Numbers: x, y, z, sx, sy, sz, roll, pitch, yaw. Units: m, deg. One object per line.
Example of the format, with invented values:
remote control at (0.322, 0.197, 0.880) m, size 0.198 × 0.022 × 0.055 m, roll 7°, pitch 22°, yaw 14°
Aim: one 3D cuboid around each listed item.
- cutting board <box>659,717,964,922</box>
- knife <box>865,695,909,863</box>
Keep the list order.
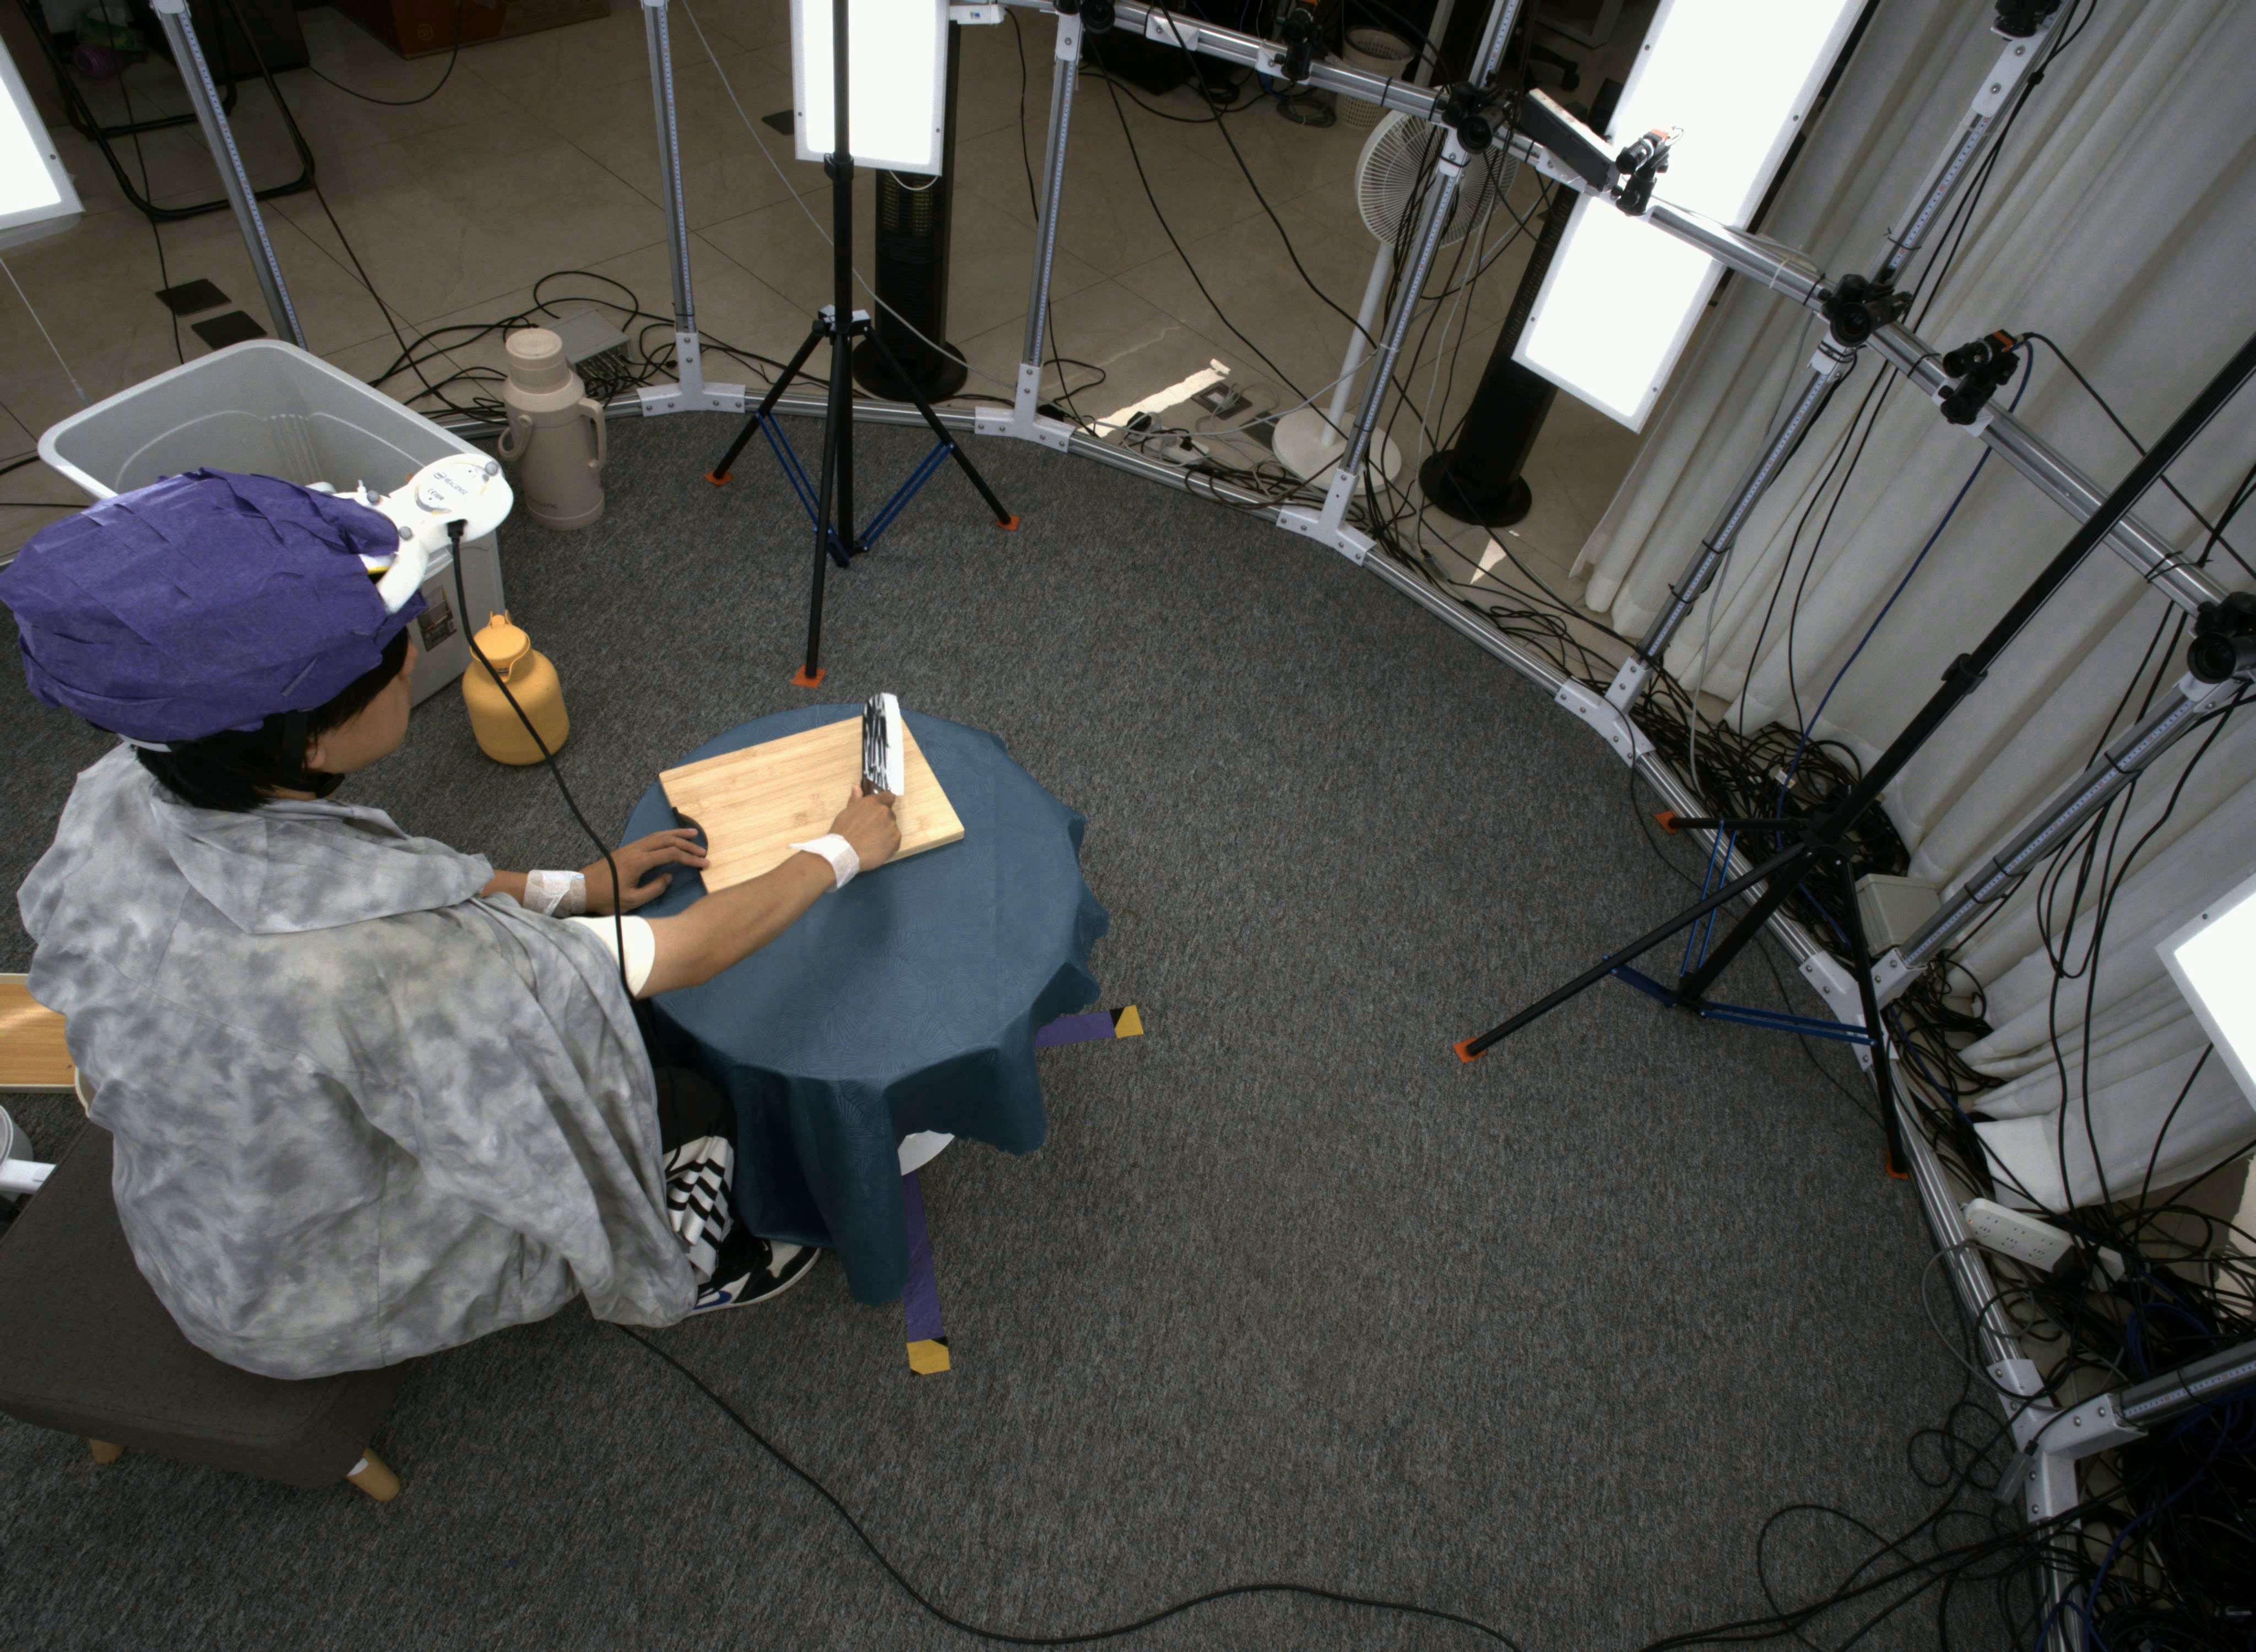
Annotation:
cutting board at (-0.421, -0.025, 1.735) m, size 0.350 × 0.024 × 0.244 m, roll -20°, pitch 61°, yaw -26°
knife at (-0.312, -0.067, 1.689) m, size 0.070 × 0.024 × 0.293 m, roll 31°, pitch 40°, yaw -39°
